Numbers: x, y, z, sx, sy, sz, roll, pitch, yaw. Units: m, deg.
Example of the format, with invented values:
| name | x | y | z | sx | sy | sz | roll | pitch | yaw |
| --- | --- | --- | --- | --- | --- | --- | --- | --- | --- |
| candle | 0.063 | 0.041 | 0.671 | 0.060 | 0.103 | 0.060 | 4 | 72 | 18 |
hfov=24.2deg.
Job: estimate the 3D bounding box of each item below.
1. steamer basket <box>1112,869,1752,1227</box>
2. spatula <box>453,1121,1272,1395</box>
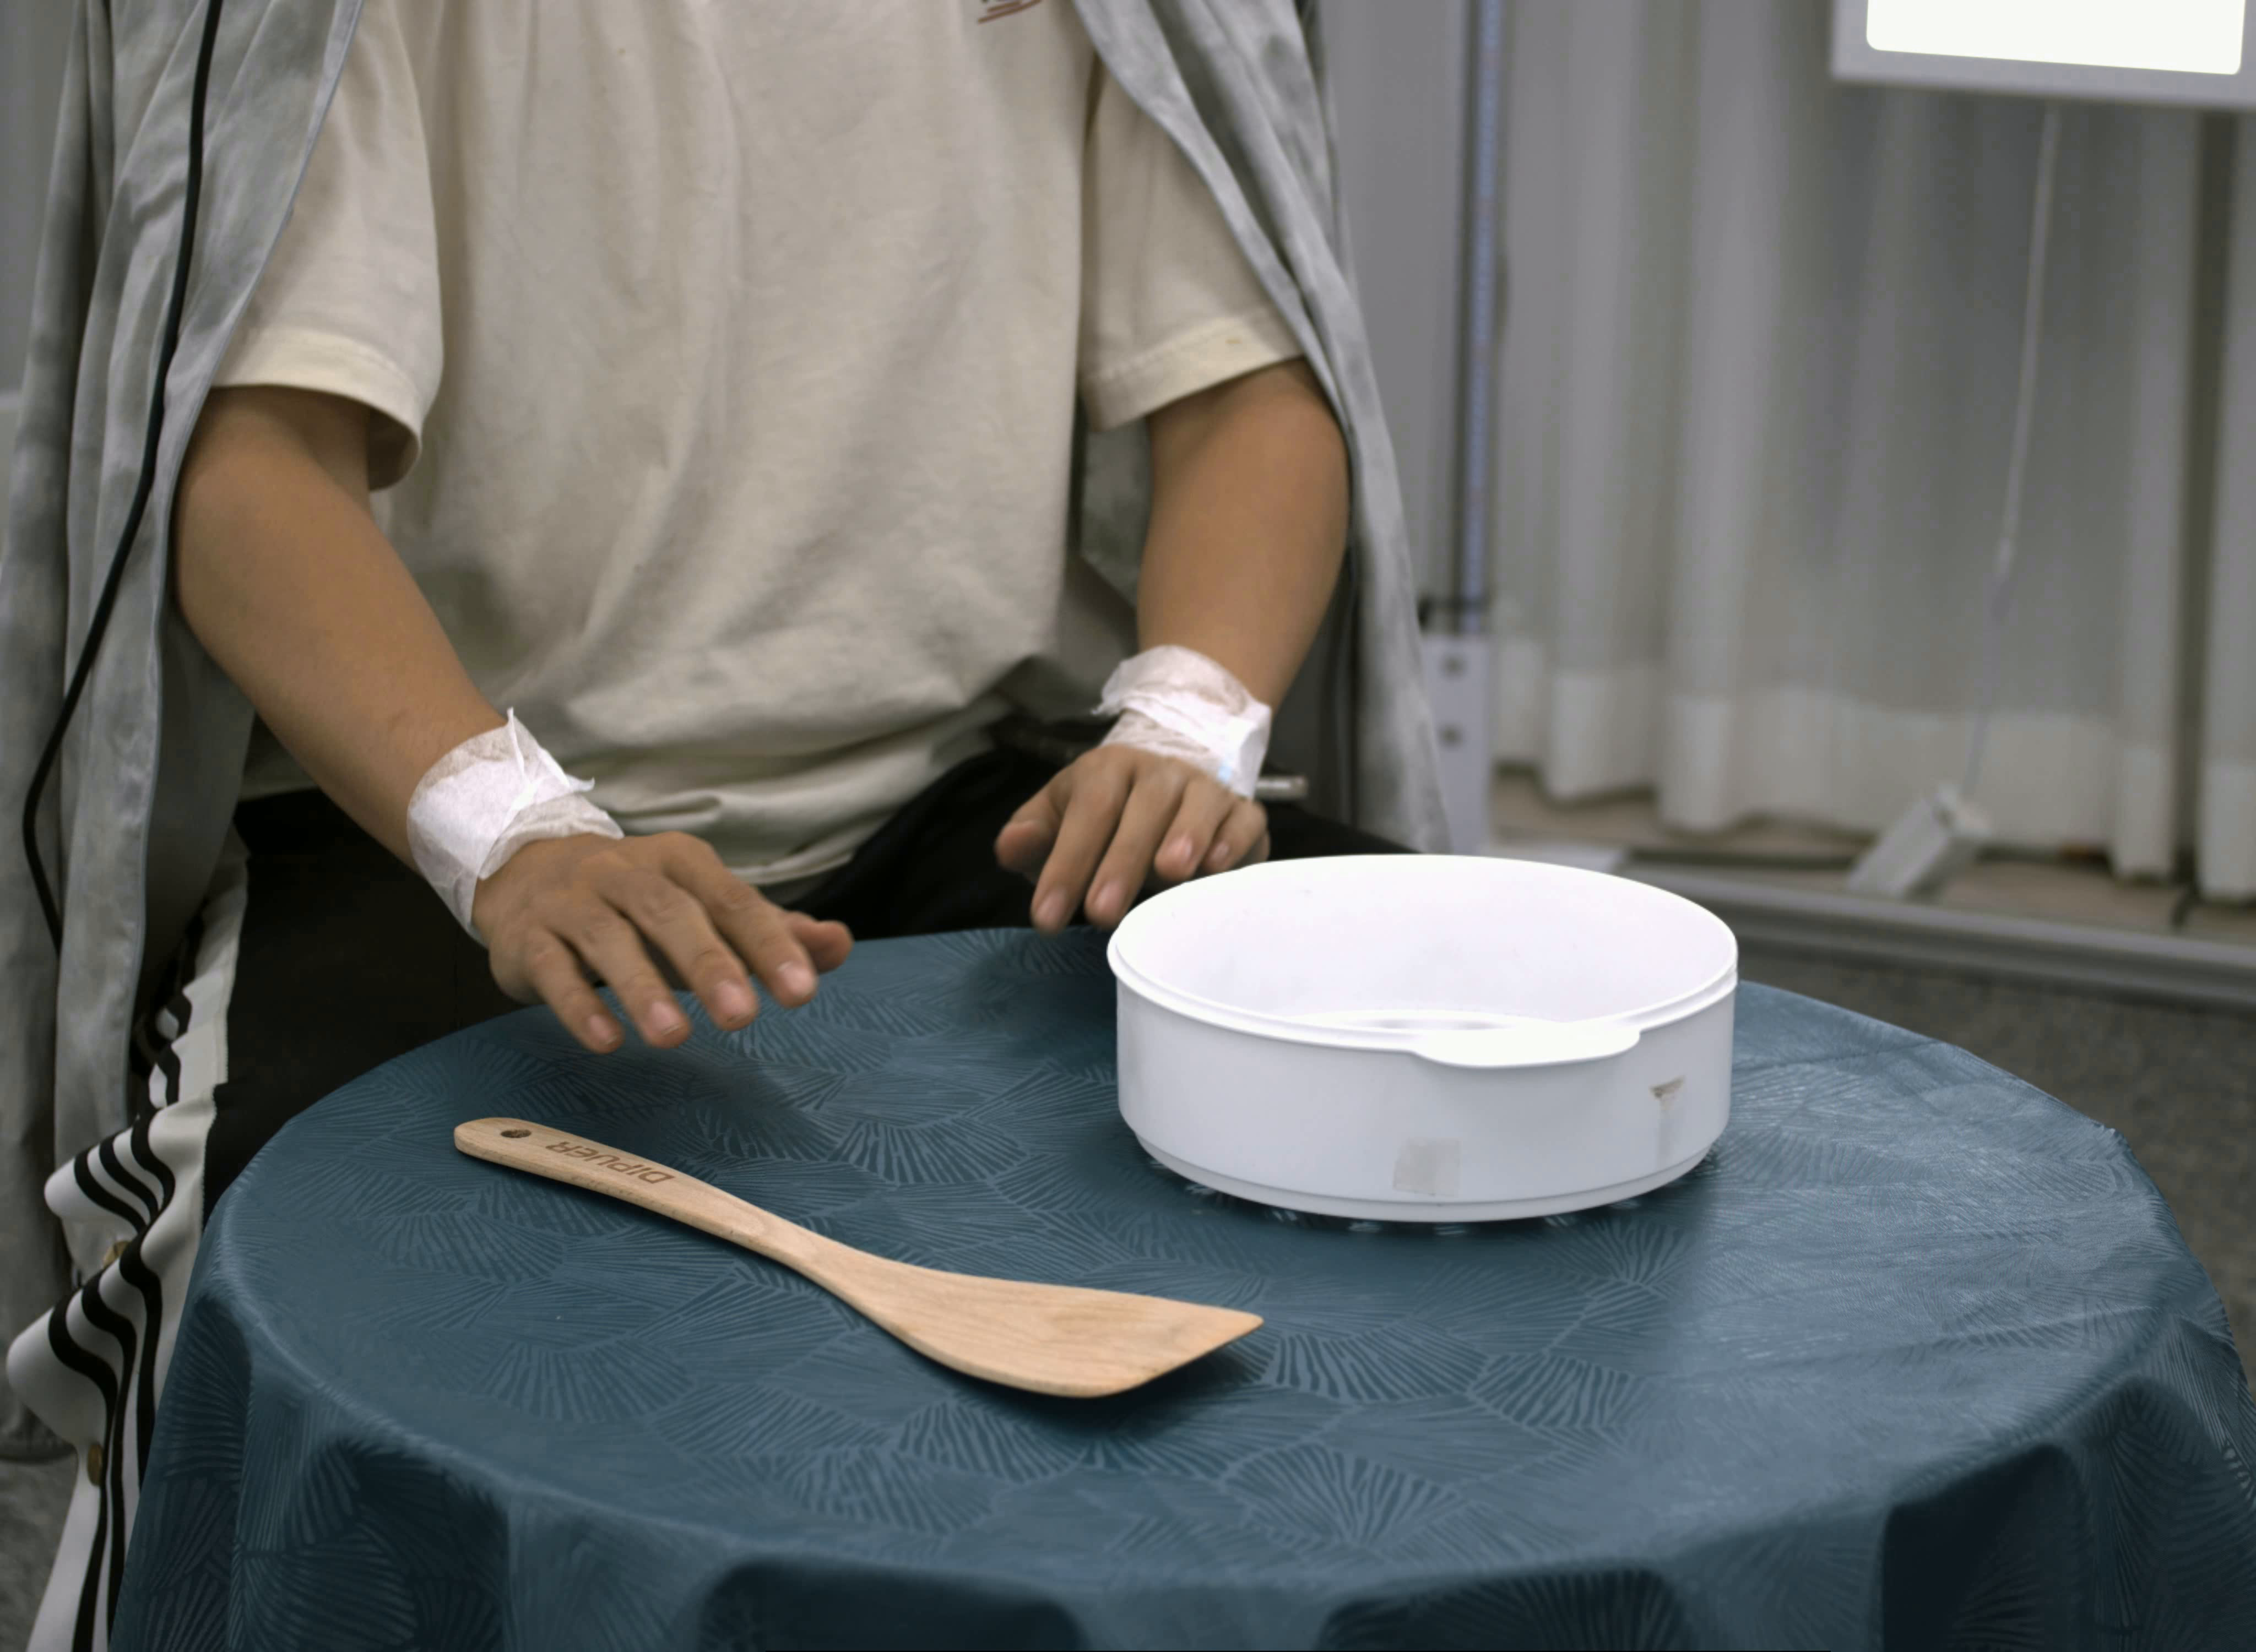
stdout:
| name | x | y | z | sx | sy | sz | roll | pitch | yaw |
| --- | --- | --- | --- | --- | --- | --- | --- | --- | --- |
| steamer basket | 0.095 | 0.069 | 1.662 | 0.202 | 0.070 | 0.228 | -2 | 15 | -15 |
| spatula | -0.091 | 0.122 | 1.553 | 0.323 | 0.016 | 0.080 | 15 | 20 | 42 |
